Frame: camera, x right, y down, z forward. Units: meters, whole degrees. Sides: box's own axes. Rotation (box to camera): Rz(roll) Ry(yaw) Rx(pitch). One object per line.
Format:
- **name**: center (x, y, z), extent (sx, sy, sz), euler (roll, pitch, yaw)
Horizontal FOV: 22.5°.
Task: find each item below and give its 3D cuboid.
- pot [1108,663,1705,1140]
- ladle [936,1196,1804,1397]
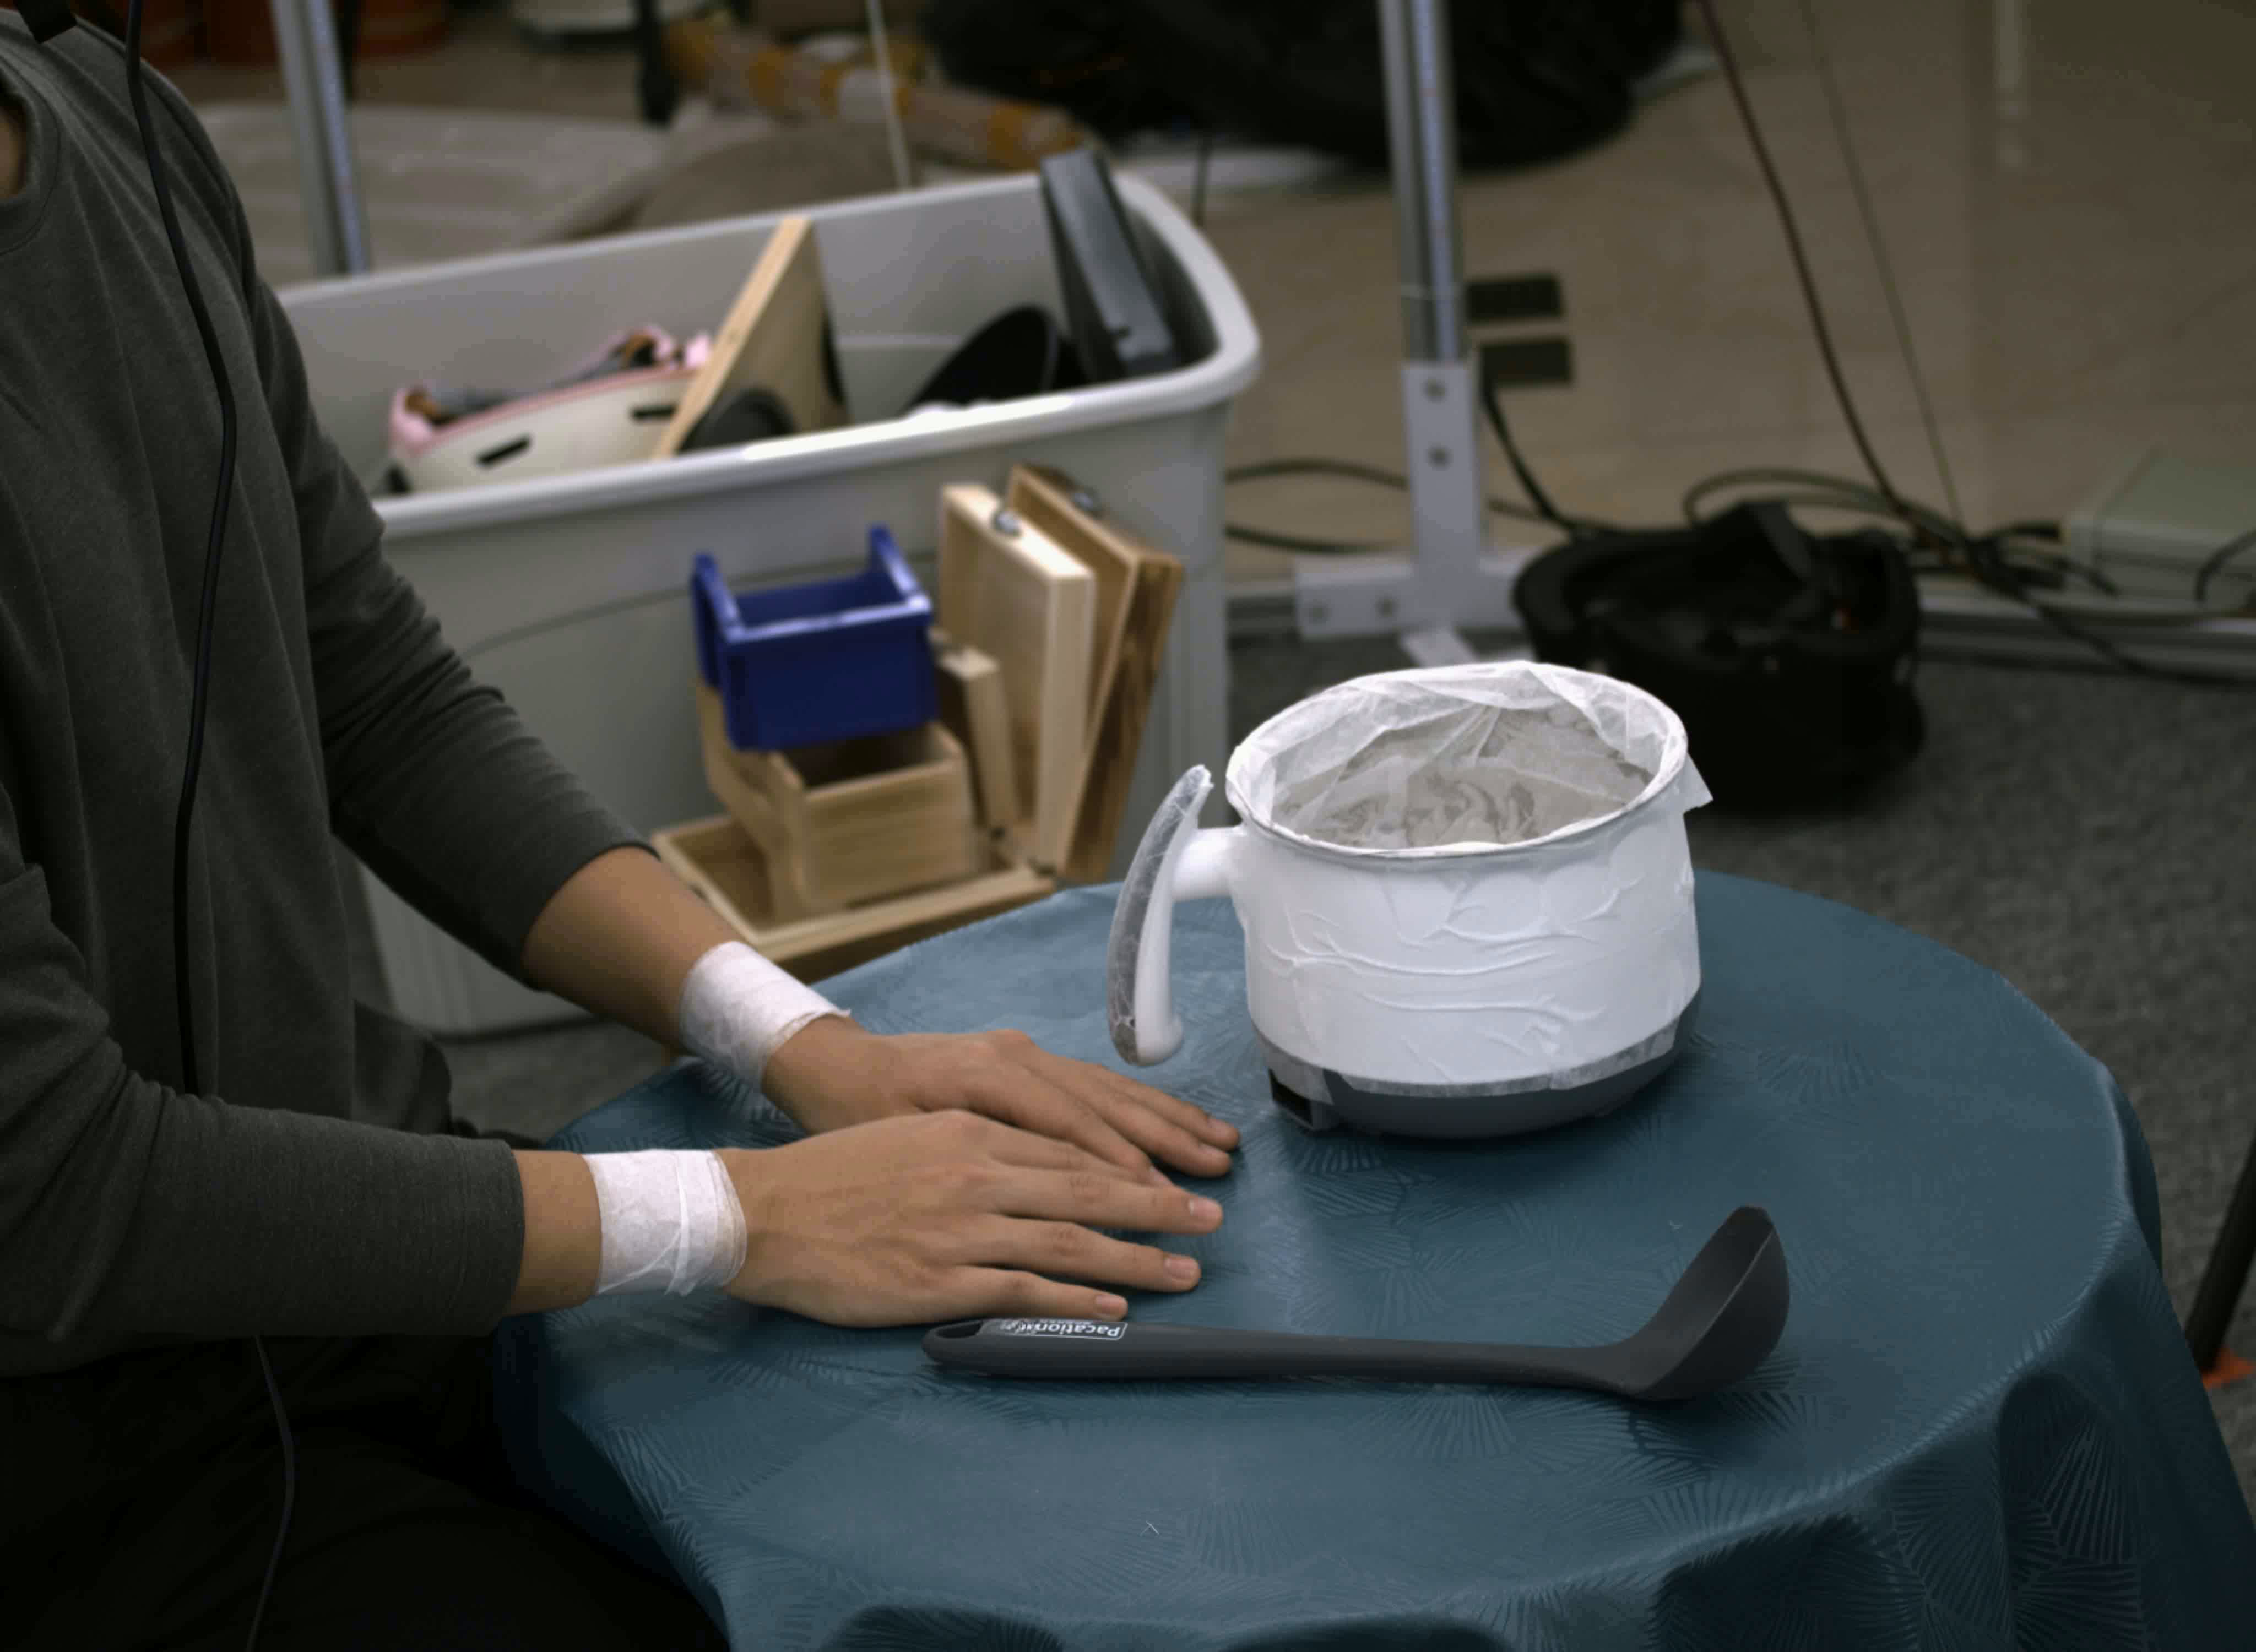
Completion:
- **pot**: center (0.105, 0.034, 2.189), extent (0.233, 0.139, 0.176), euler (-6, 25, 2)
- **ladle**: center (0.081, 0.167, 1.996), extent (0.313, 0.065, 0.085), euler (0, 21, 14)
